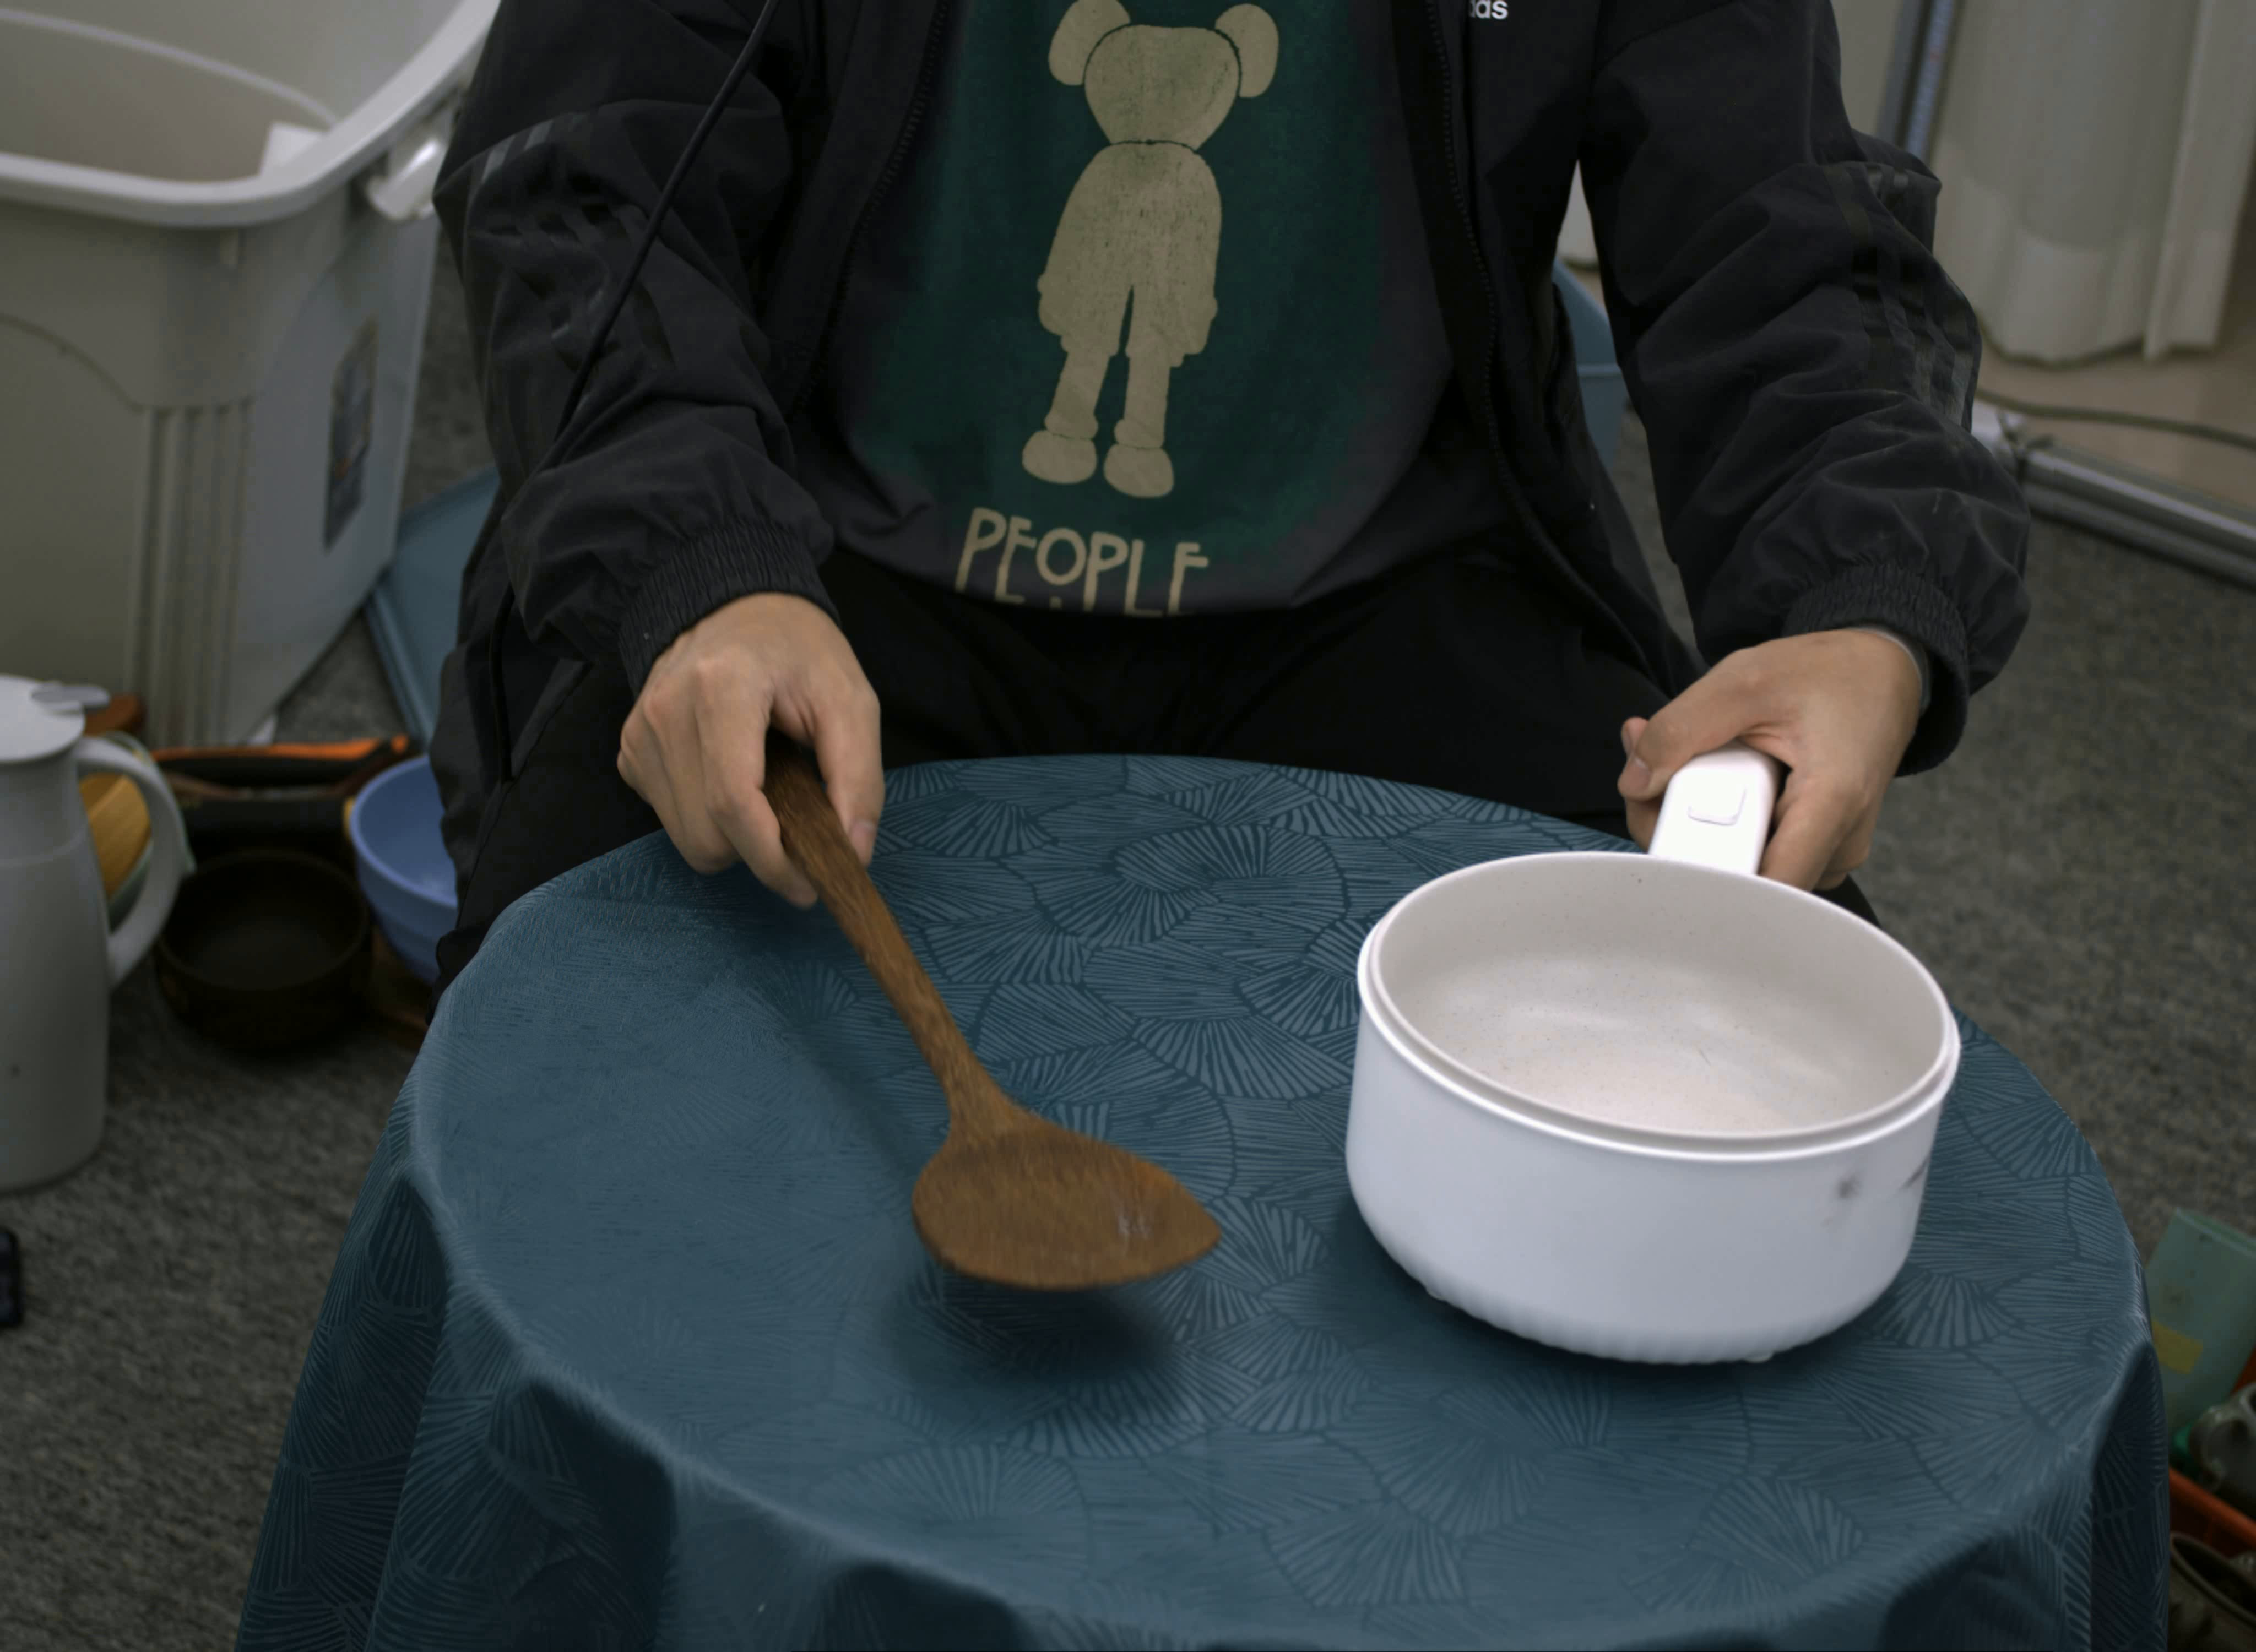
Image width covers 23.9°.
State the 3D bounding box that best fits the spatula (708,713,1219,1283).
[{"bbox_3d":[-0.078,0.050,1.834,0.095,0.016,0.389,-7,32,-21],"label":"spatula"}]

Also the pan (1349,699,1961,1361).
[{"bbox_3d":[0.189,0.067,1.851,0.201,0.102,0.356,9,25,10],"label":"pan"}]
